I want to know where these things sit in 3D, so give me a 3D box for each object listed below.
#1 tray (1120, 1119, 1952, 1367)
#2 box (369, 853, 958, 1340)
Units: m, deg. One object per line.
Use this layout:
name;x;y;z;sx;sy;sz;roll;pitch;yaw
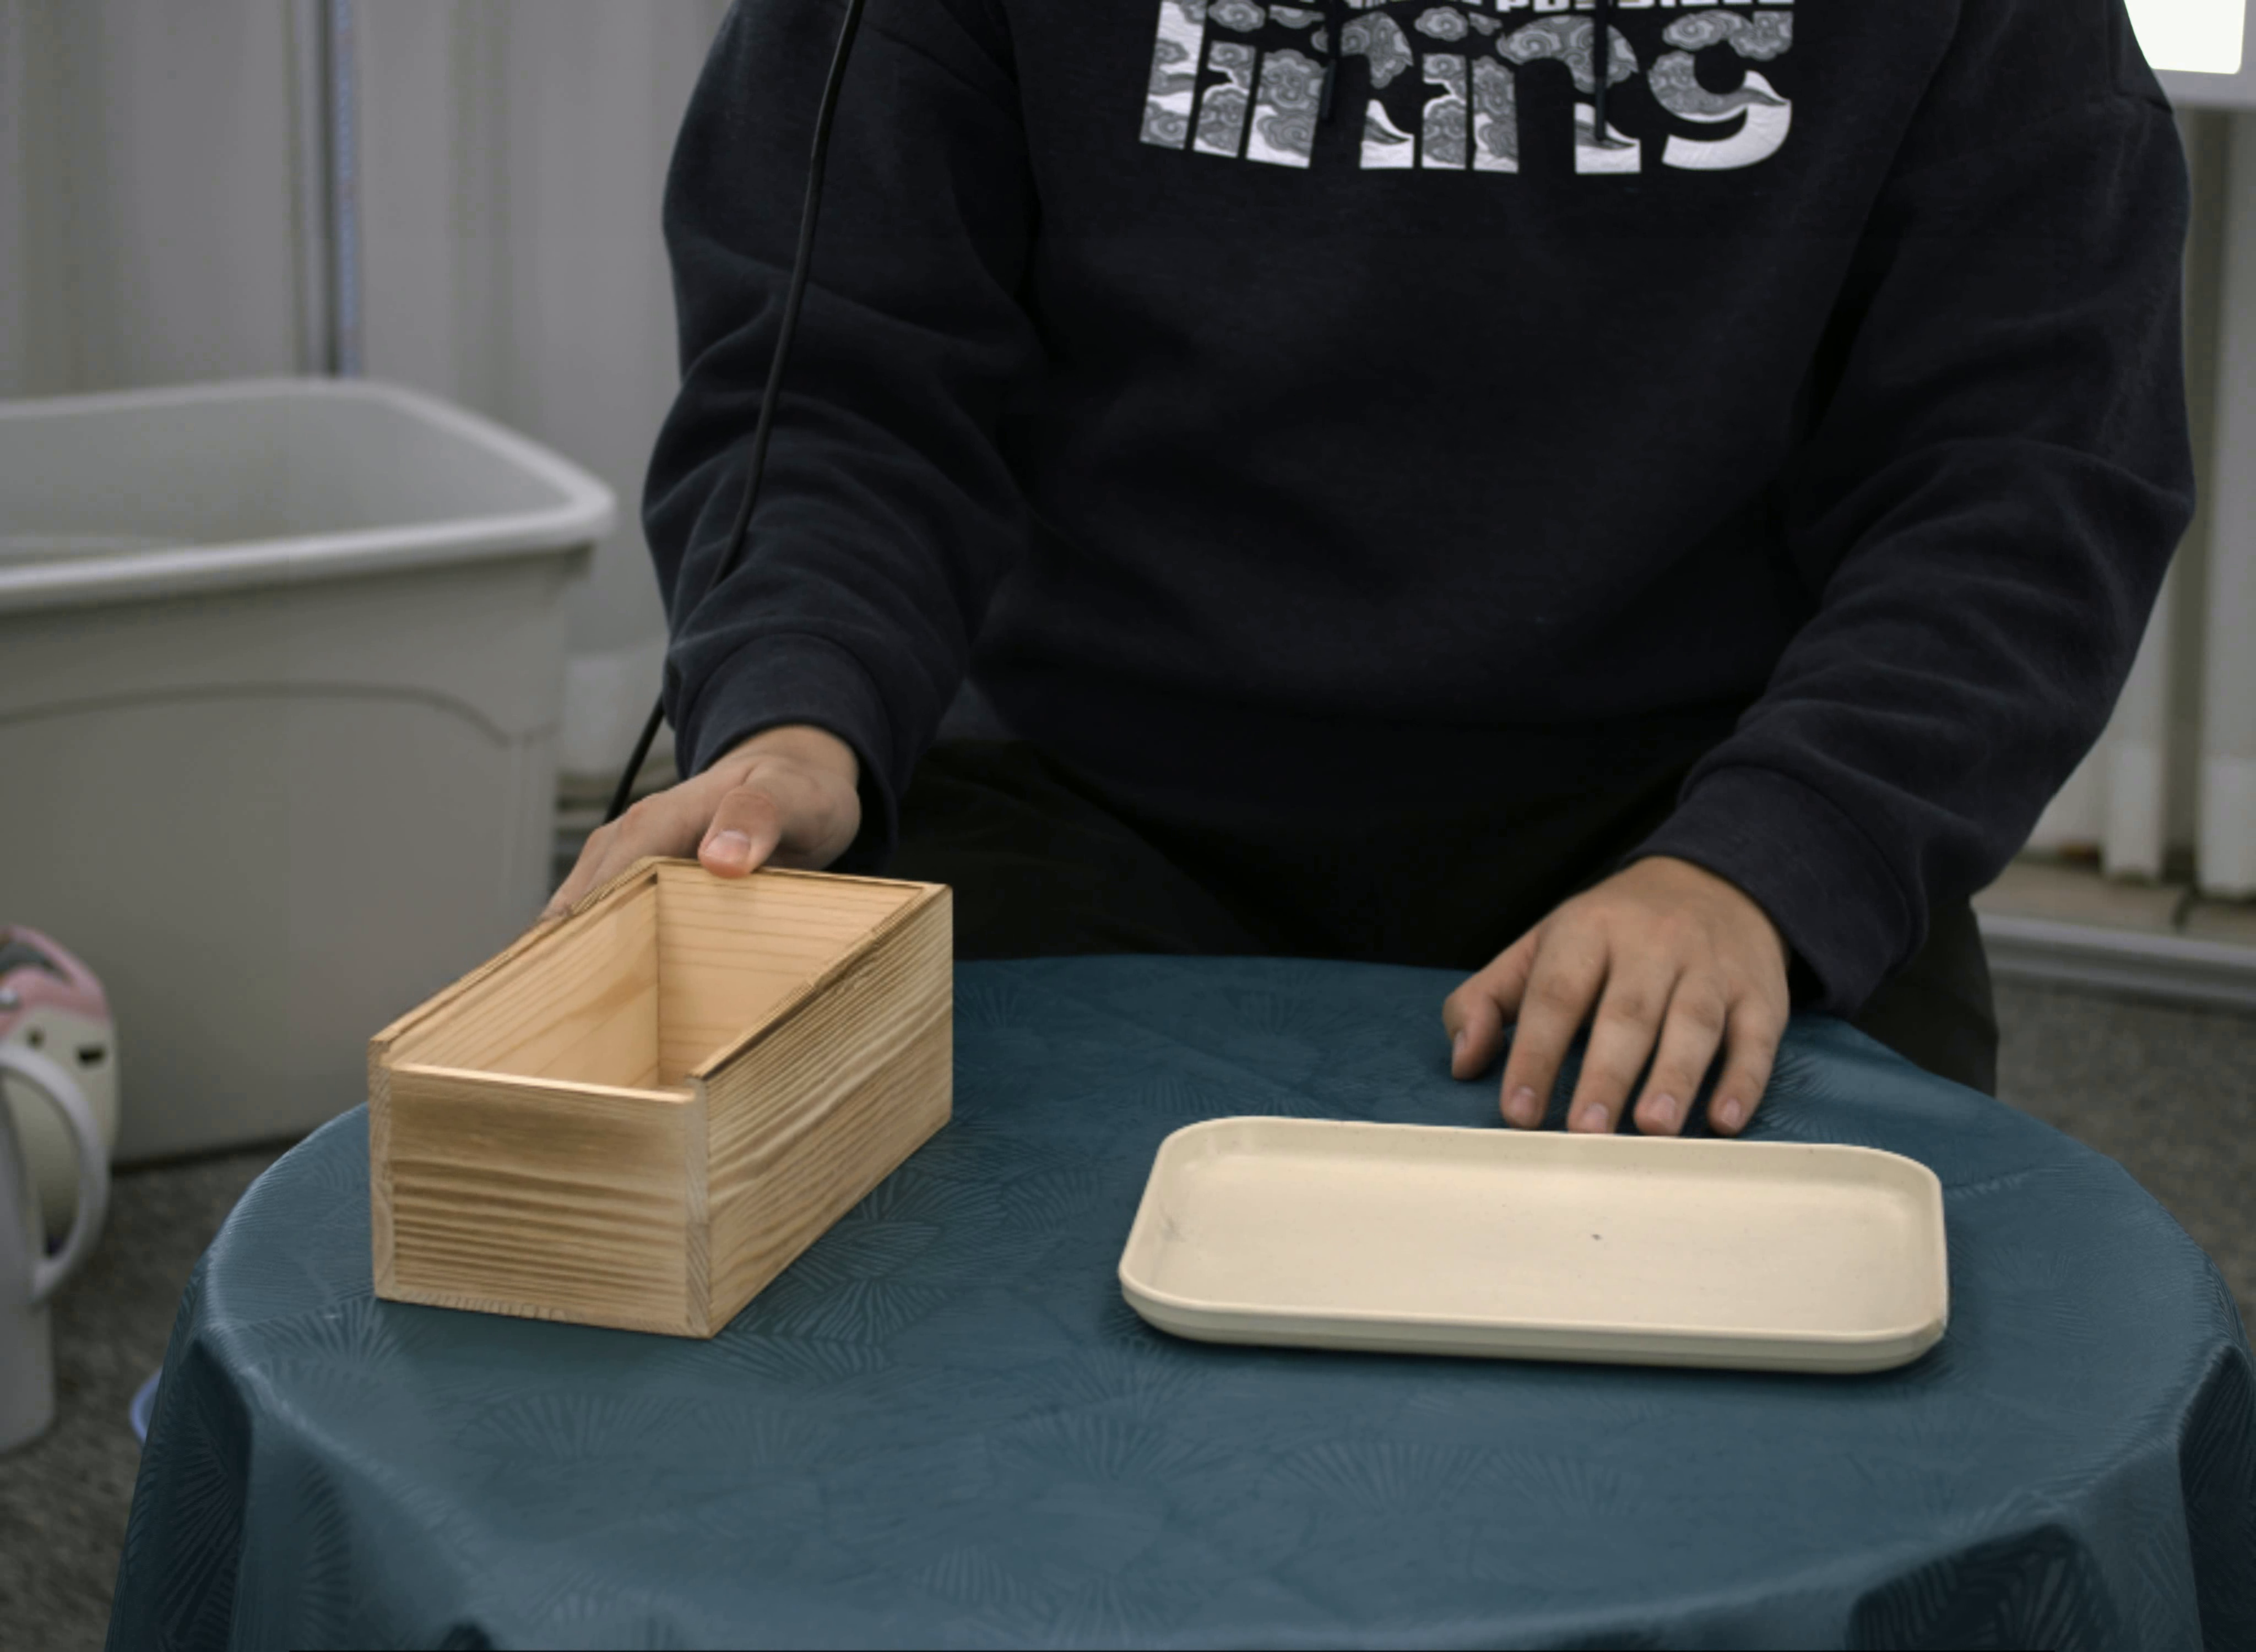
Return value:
tray;0.122;0.123;1.560;0.238;0.017;0.171;2;15;6
box;-0.136;0.078;1.595;0.106;0.081;0.211;6;16;16
